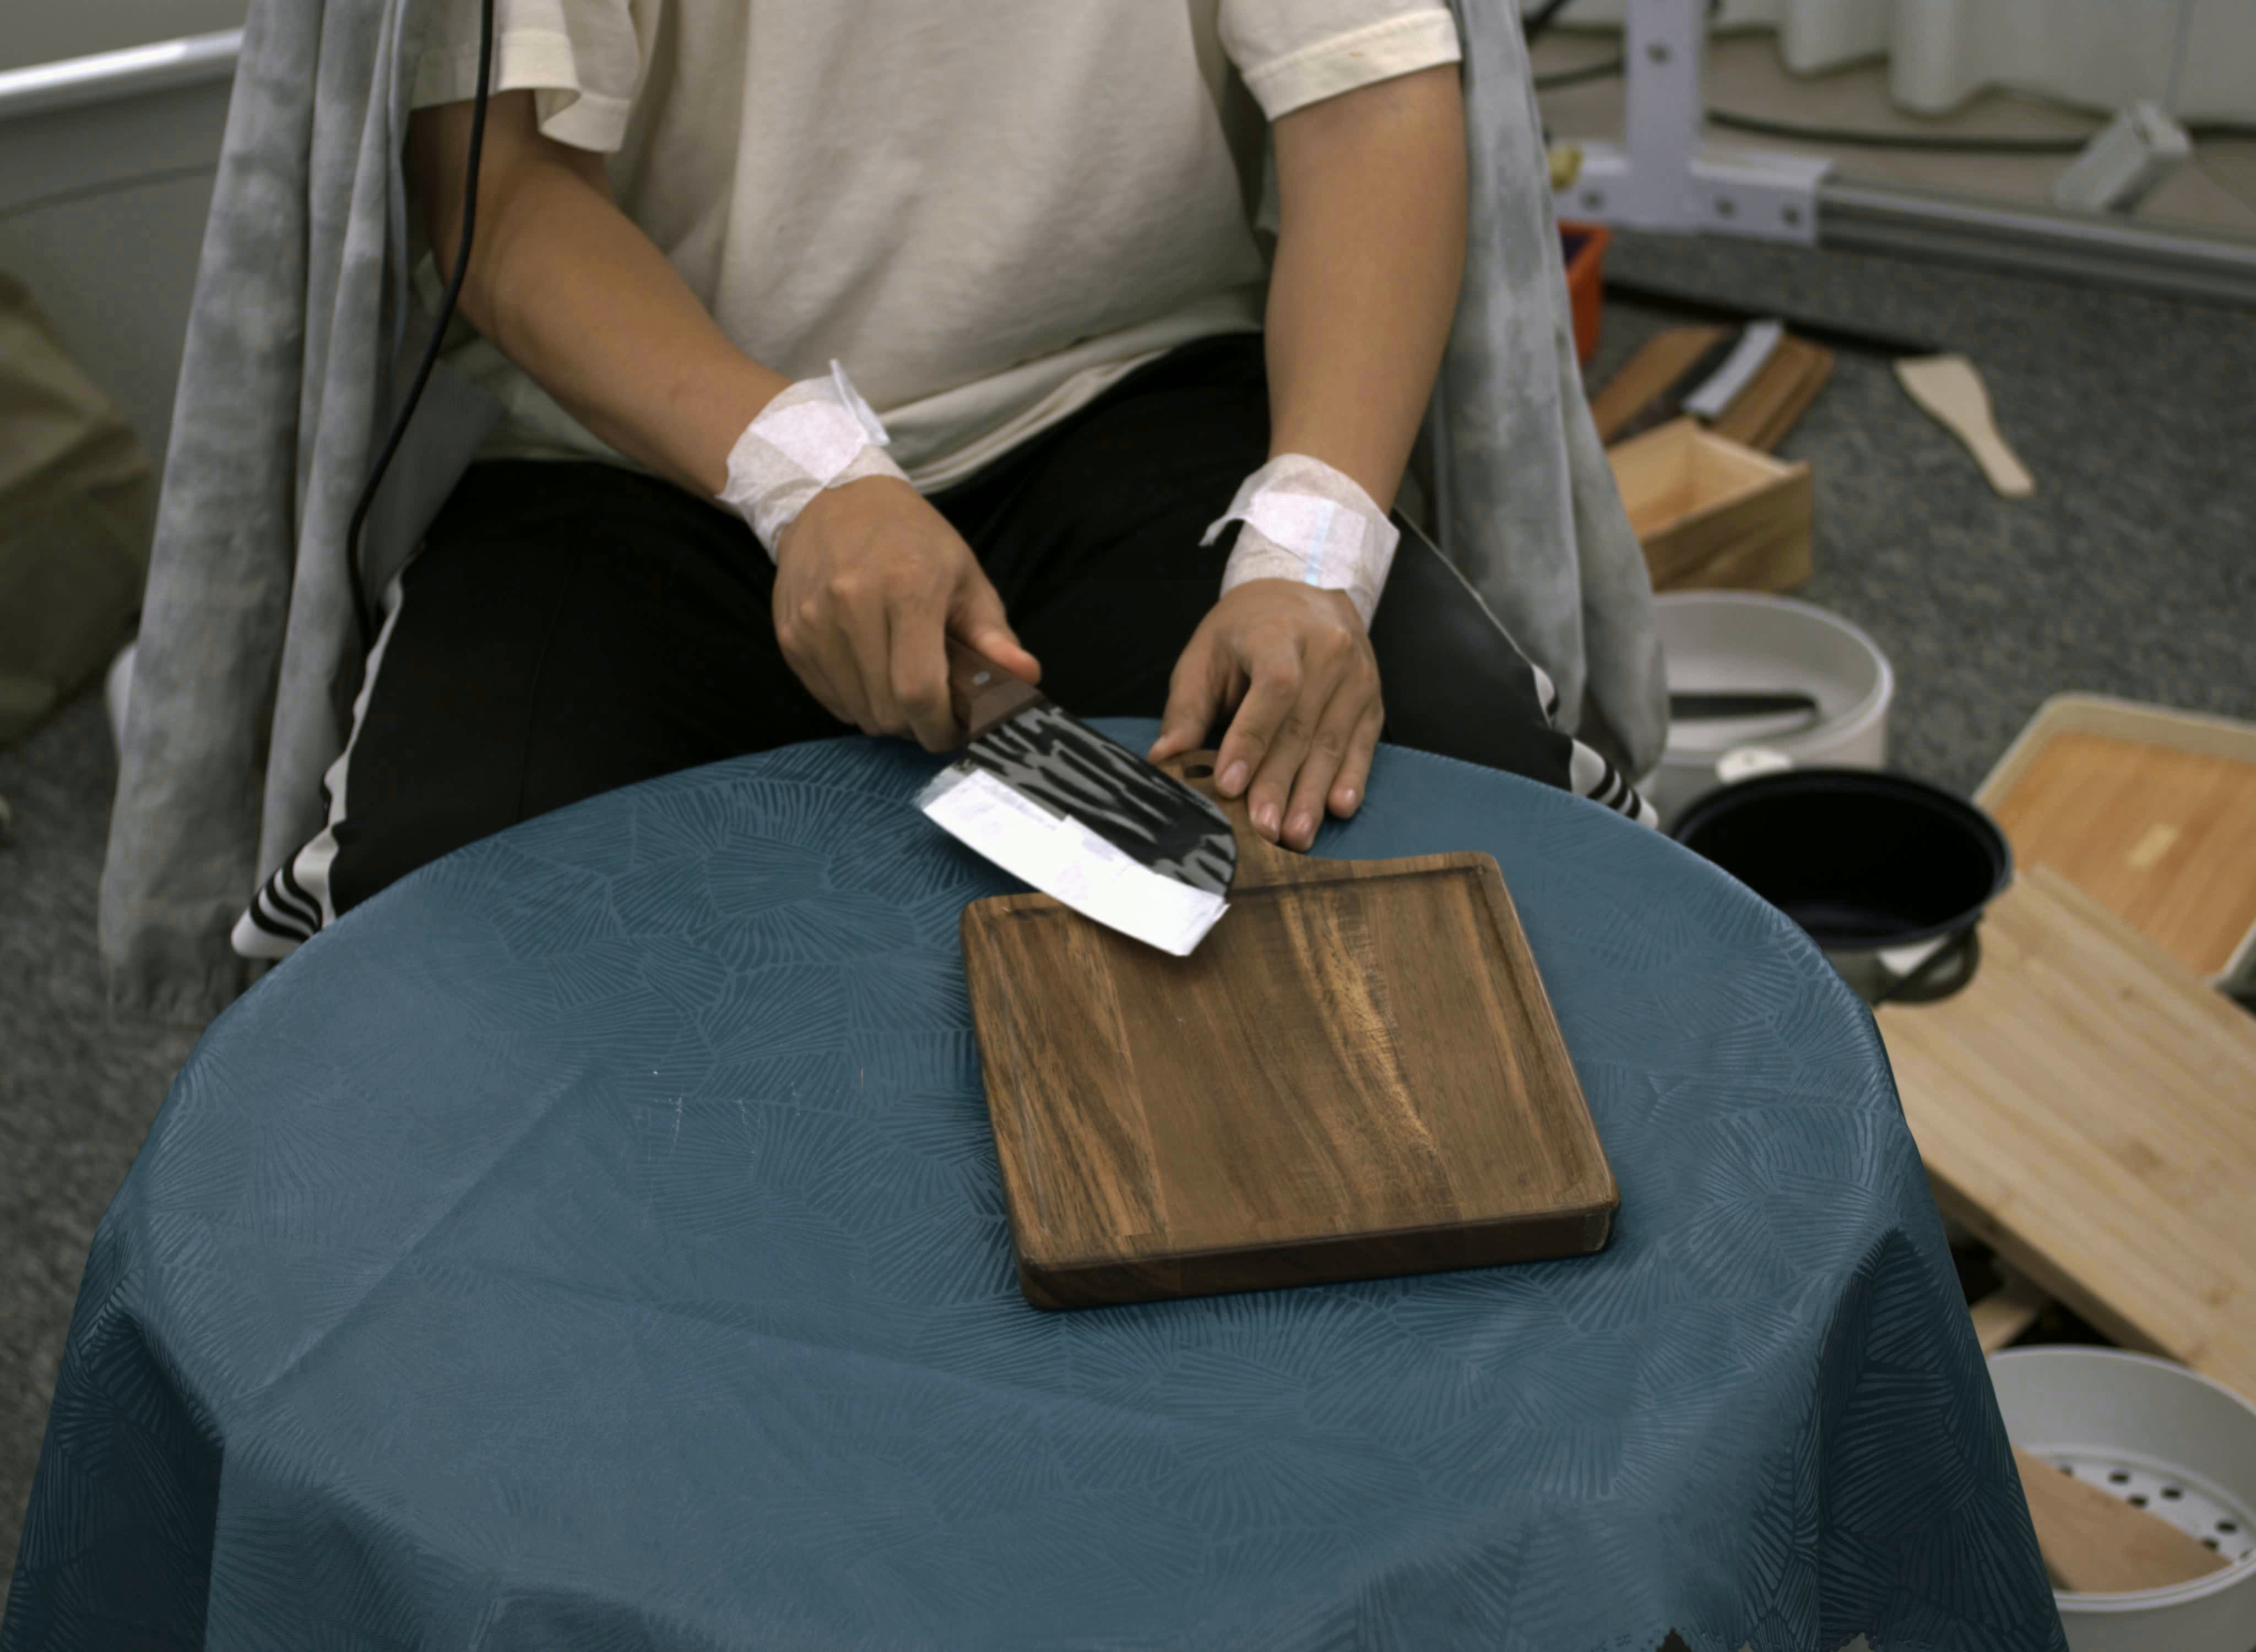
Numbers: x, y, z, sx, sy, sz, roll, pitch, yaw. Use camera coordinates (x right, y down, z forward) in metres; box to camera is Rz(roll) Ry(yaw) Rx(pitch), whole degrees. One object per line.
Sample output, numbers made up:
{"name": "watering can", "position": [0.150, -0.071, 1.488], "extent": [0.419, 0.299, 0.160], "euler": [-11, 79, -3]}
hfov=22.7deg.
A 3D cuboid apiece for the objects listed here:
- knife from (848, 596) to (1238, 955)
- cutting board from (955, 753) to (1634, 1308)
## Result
{"name": "knife", "position": [-0.041, -0.019, 2.076], "extent": [0.068, 0.024, 0.300], "euler": [-36, 36, -16]}
{"name": "cutting board", "position": [0.045, 0.059, 1.954], "extent": [0.200, 0.023, 0.357], "euler": [-6, 27, -5]}
